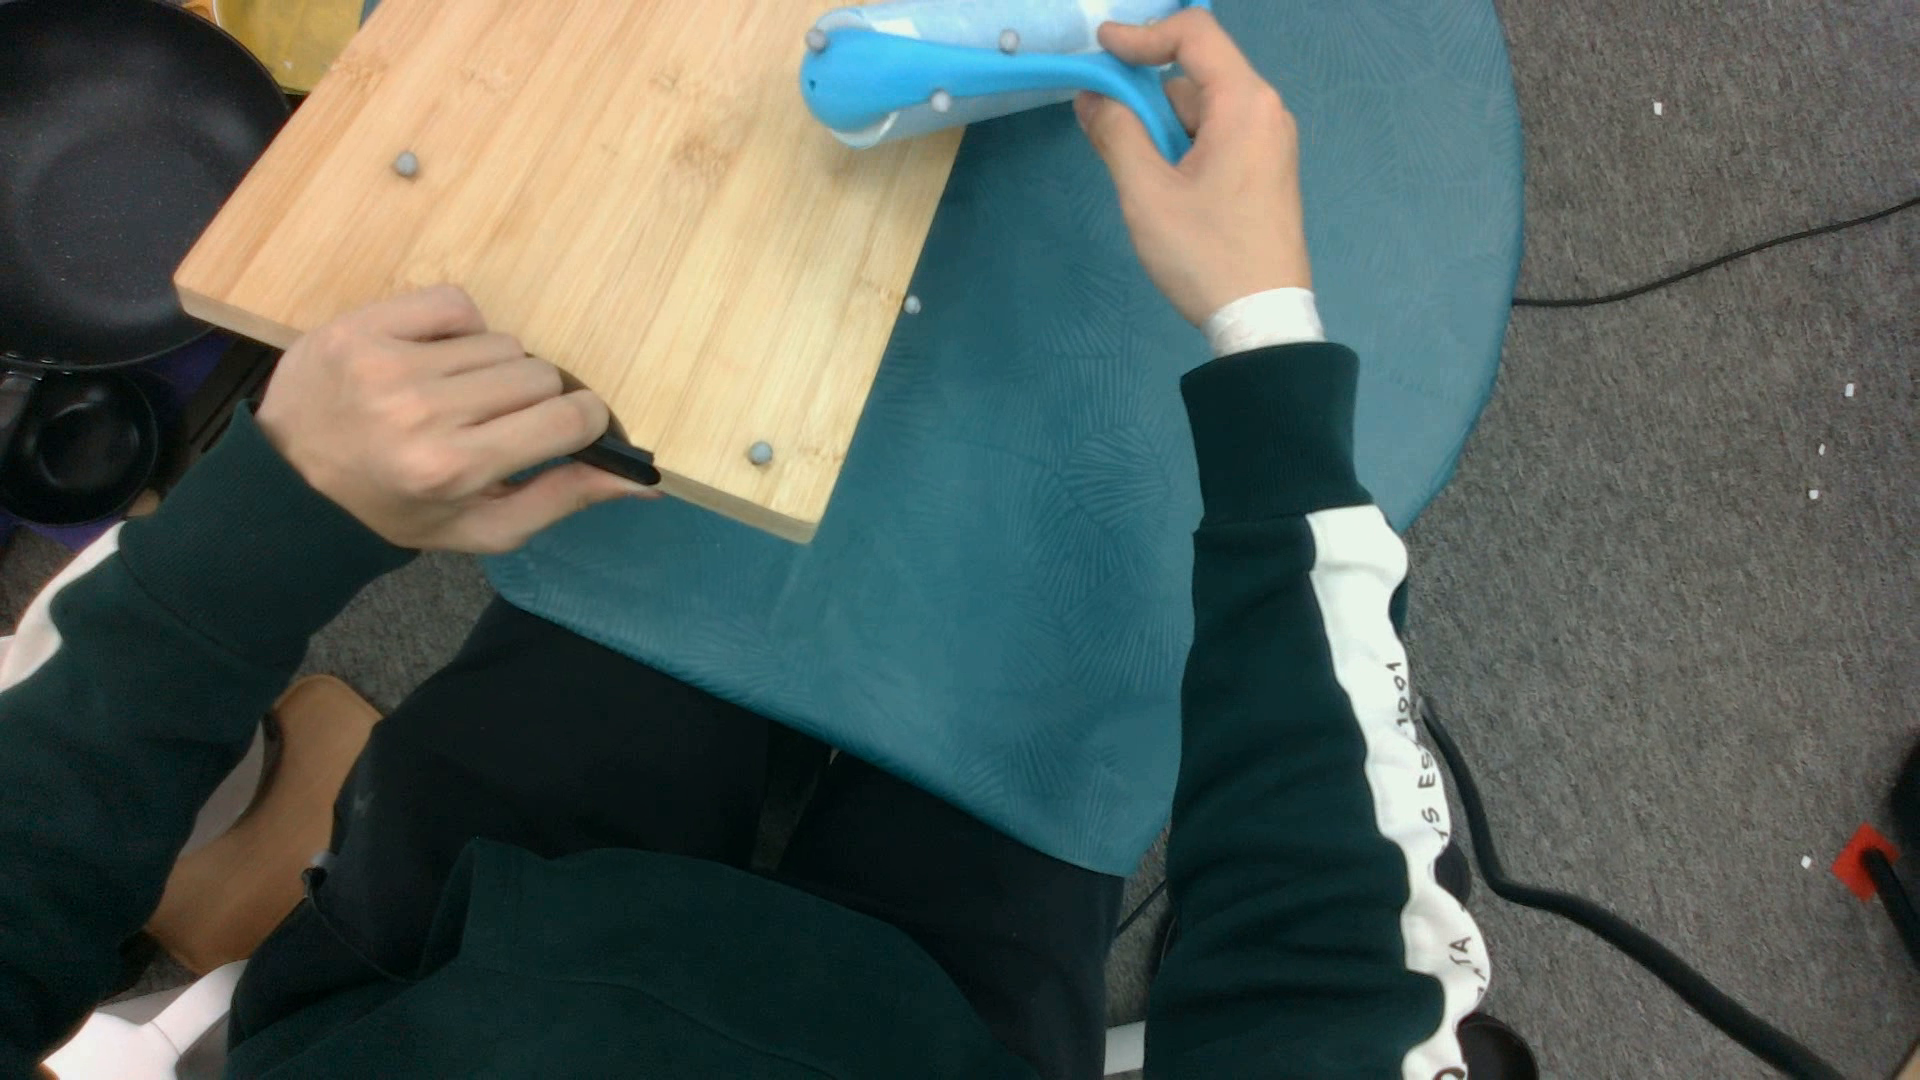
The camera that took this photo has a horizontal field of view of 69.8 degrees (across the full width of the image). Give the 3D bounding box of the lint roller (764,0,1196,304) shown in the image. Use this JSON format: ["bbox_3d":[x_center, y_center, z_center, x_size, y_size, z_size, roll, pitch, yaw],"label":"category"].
[{"bbox_3d":[0.046,-0.184,0.603,0.180,0.067,0.230,43,46,15],"label":"lint roller"}]

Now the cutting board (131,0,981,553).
[{"bbox_3d":[-0.138,-0.178,0.589,0.251,0.023,0.350,18,58,-8],"label":"cutting board"}]
